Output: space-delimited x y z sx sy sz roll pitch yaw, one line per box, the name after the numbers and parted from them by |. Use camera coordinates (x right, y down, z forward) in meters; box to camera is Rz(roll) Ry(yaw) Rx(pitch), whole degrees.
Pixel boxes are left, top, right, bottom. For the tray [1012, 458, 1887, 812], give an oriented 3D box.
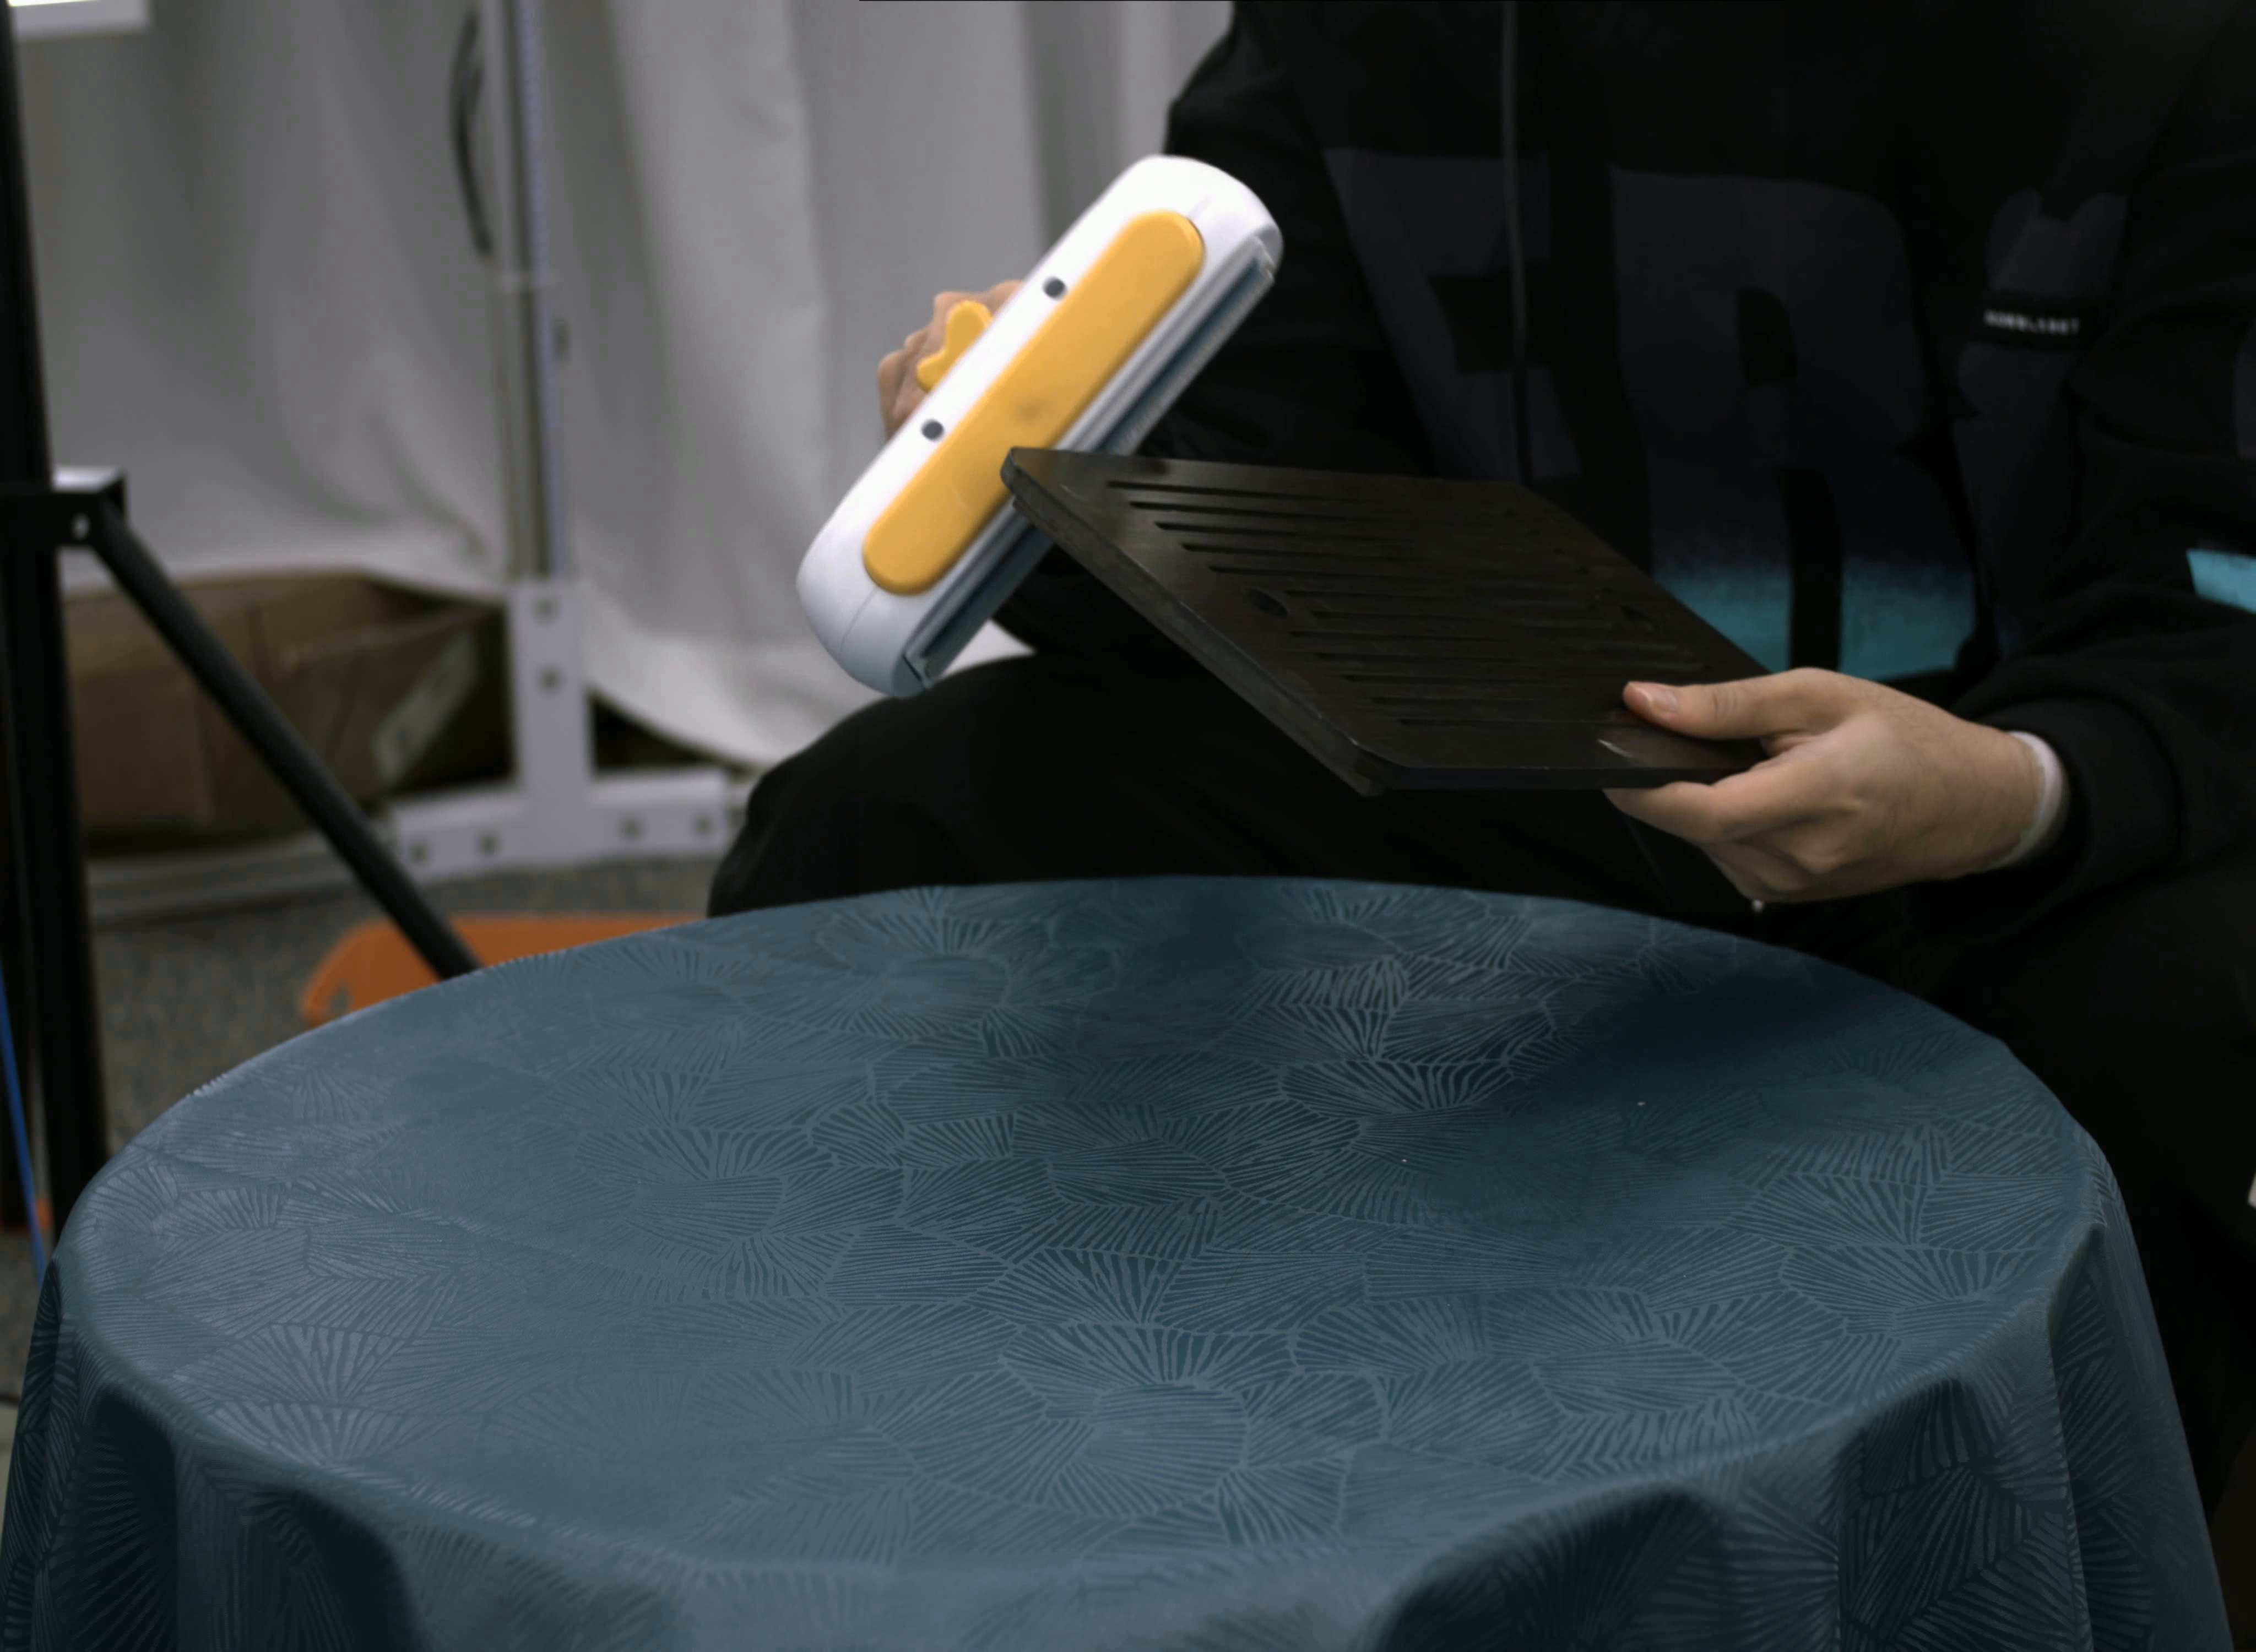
0.104 -0.056 1.643 0.173 0.019 0.298 40 23 30 | tray

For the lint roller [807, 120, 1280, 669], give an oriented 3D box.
-0.033 -0.126 1.699 0.074 0.193 0.192 35 -9 5 | lint roller
